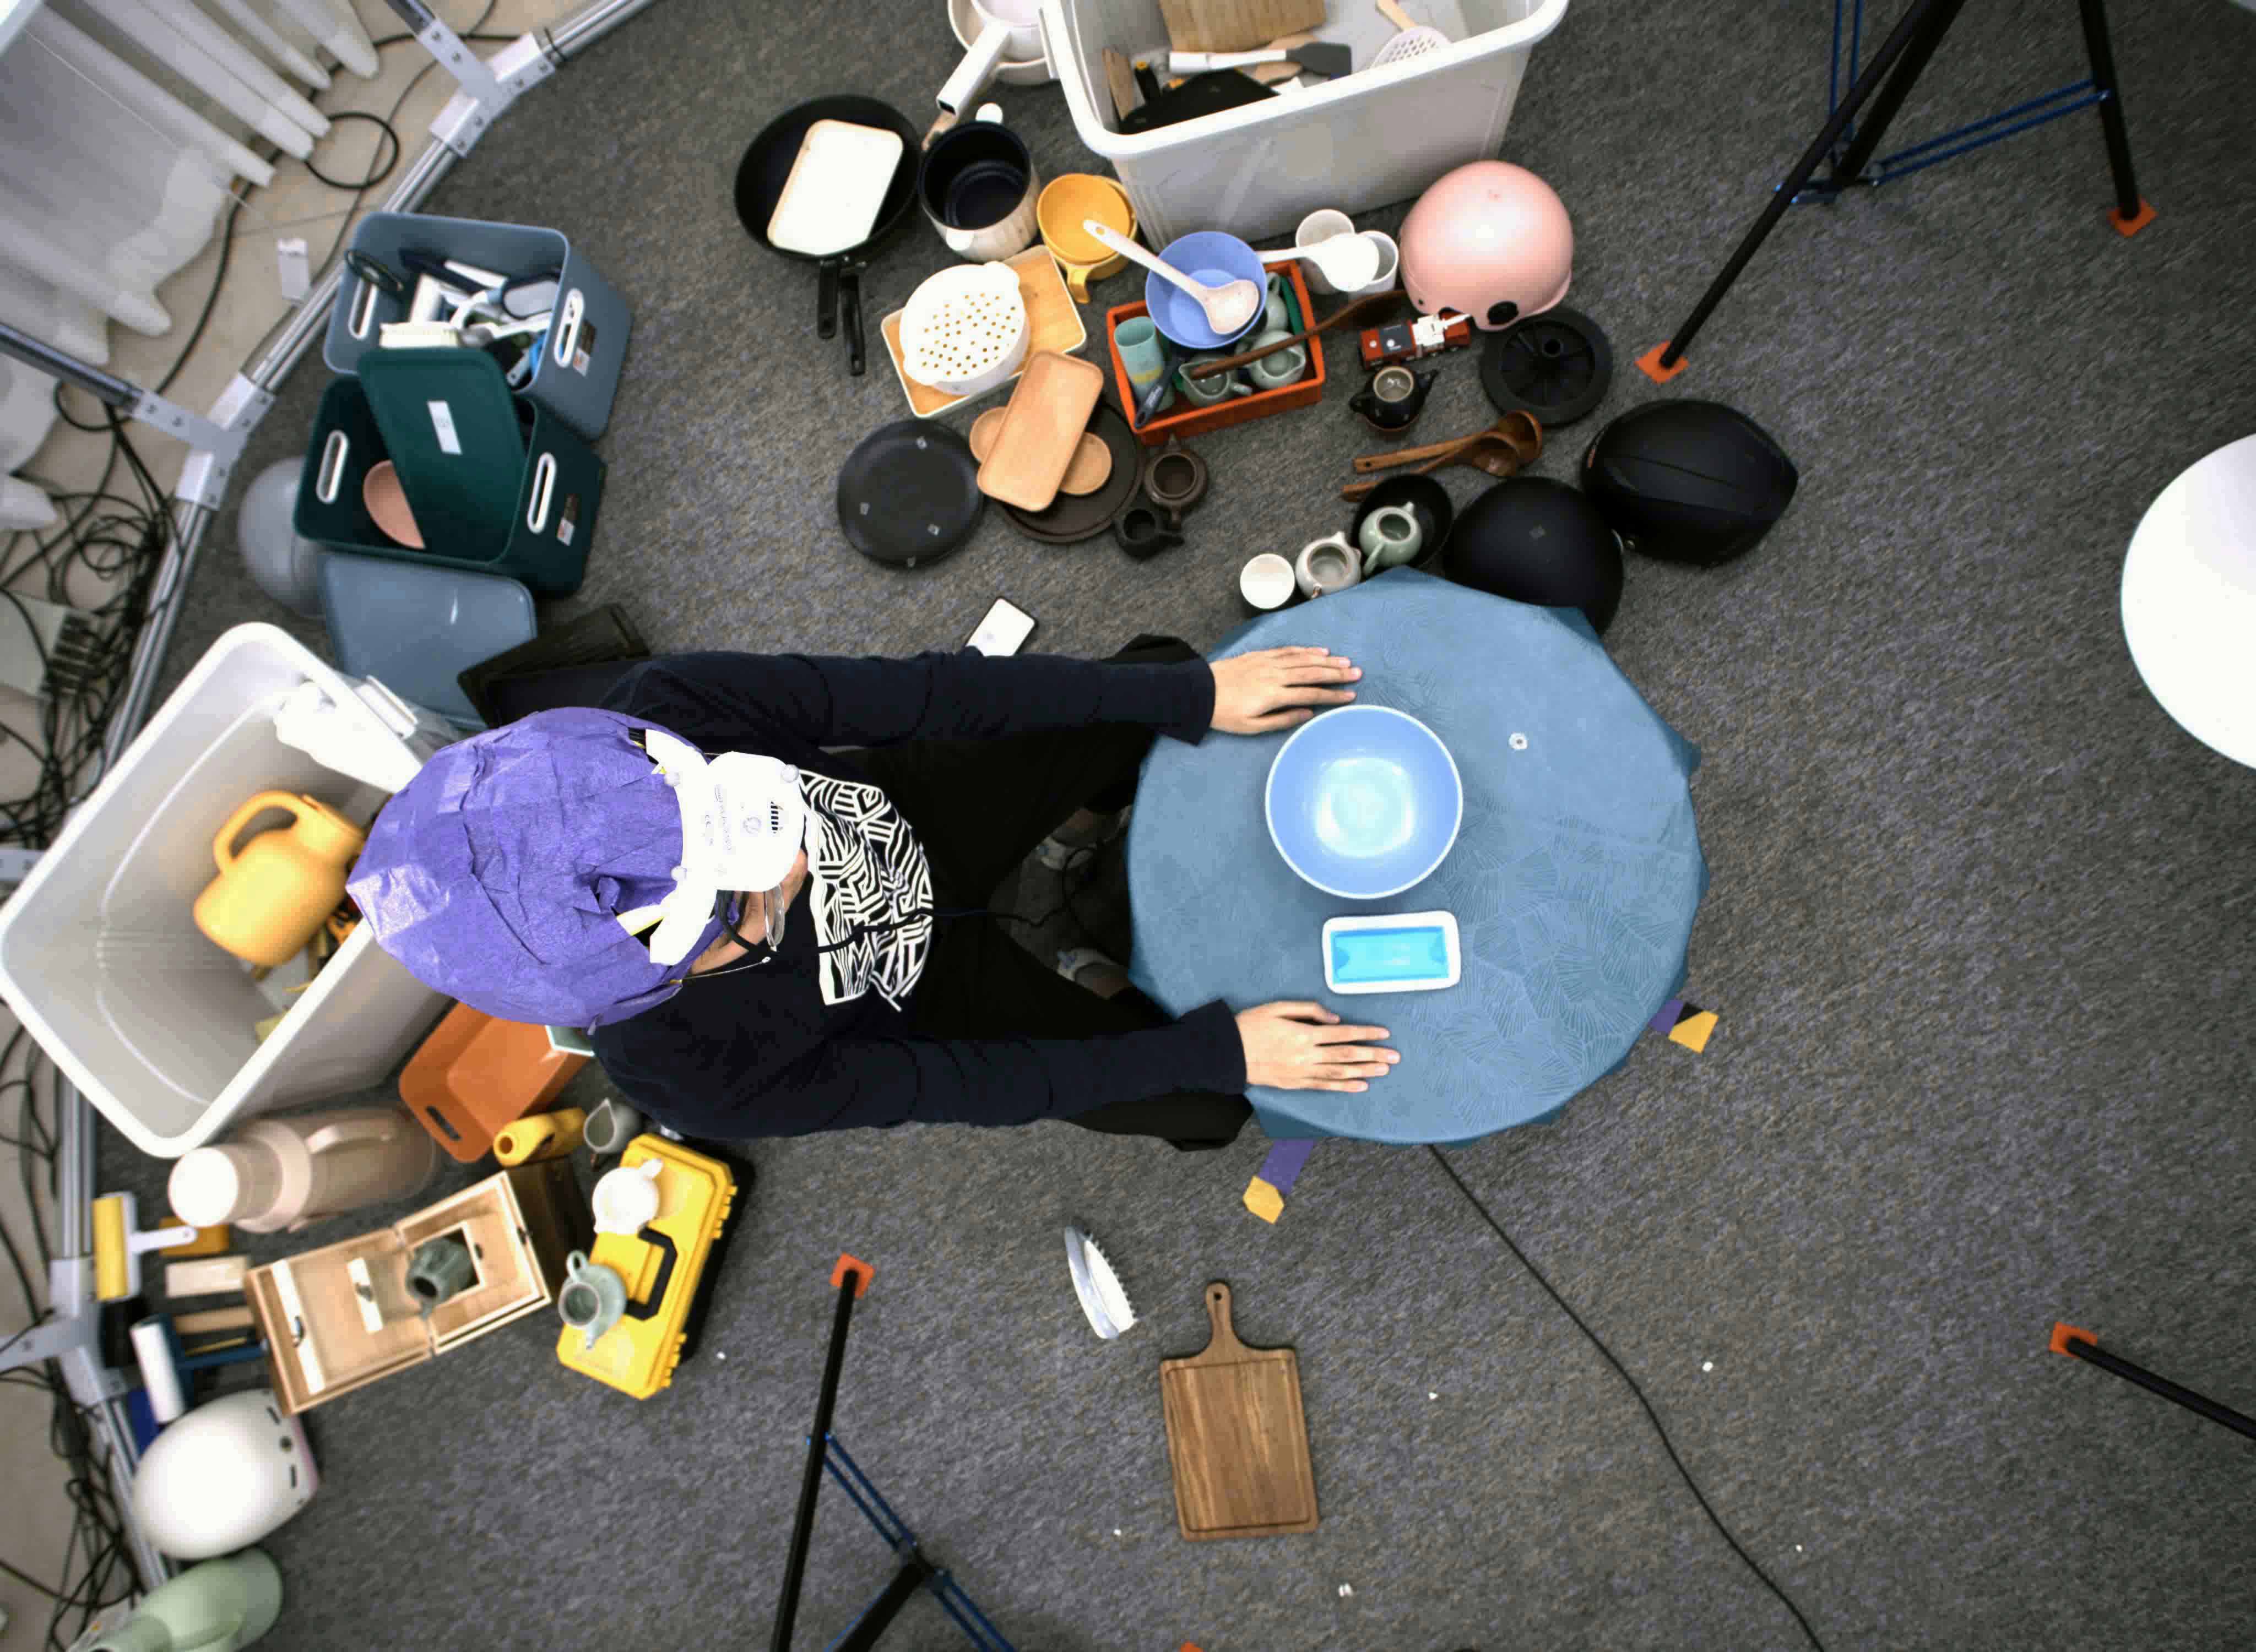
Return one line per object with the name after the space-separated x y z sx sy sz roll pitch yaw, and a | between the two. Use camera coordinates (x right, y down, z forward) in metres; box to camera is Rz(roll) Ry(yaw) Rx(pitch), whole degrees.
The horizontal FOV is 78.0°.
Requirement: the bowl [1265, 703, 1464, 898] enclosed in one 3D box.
0.242 -0.022 1.421 0.197 0.095 0.195 -1 86 10 | bowl

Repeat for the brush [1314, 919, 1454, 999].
0.264 0.133 1.425 0.144 0.056 0.083 -3 81 7 | brush
